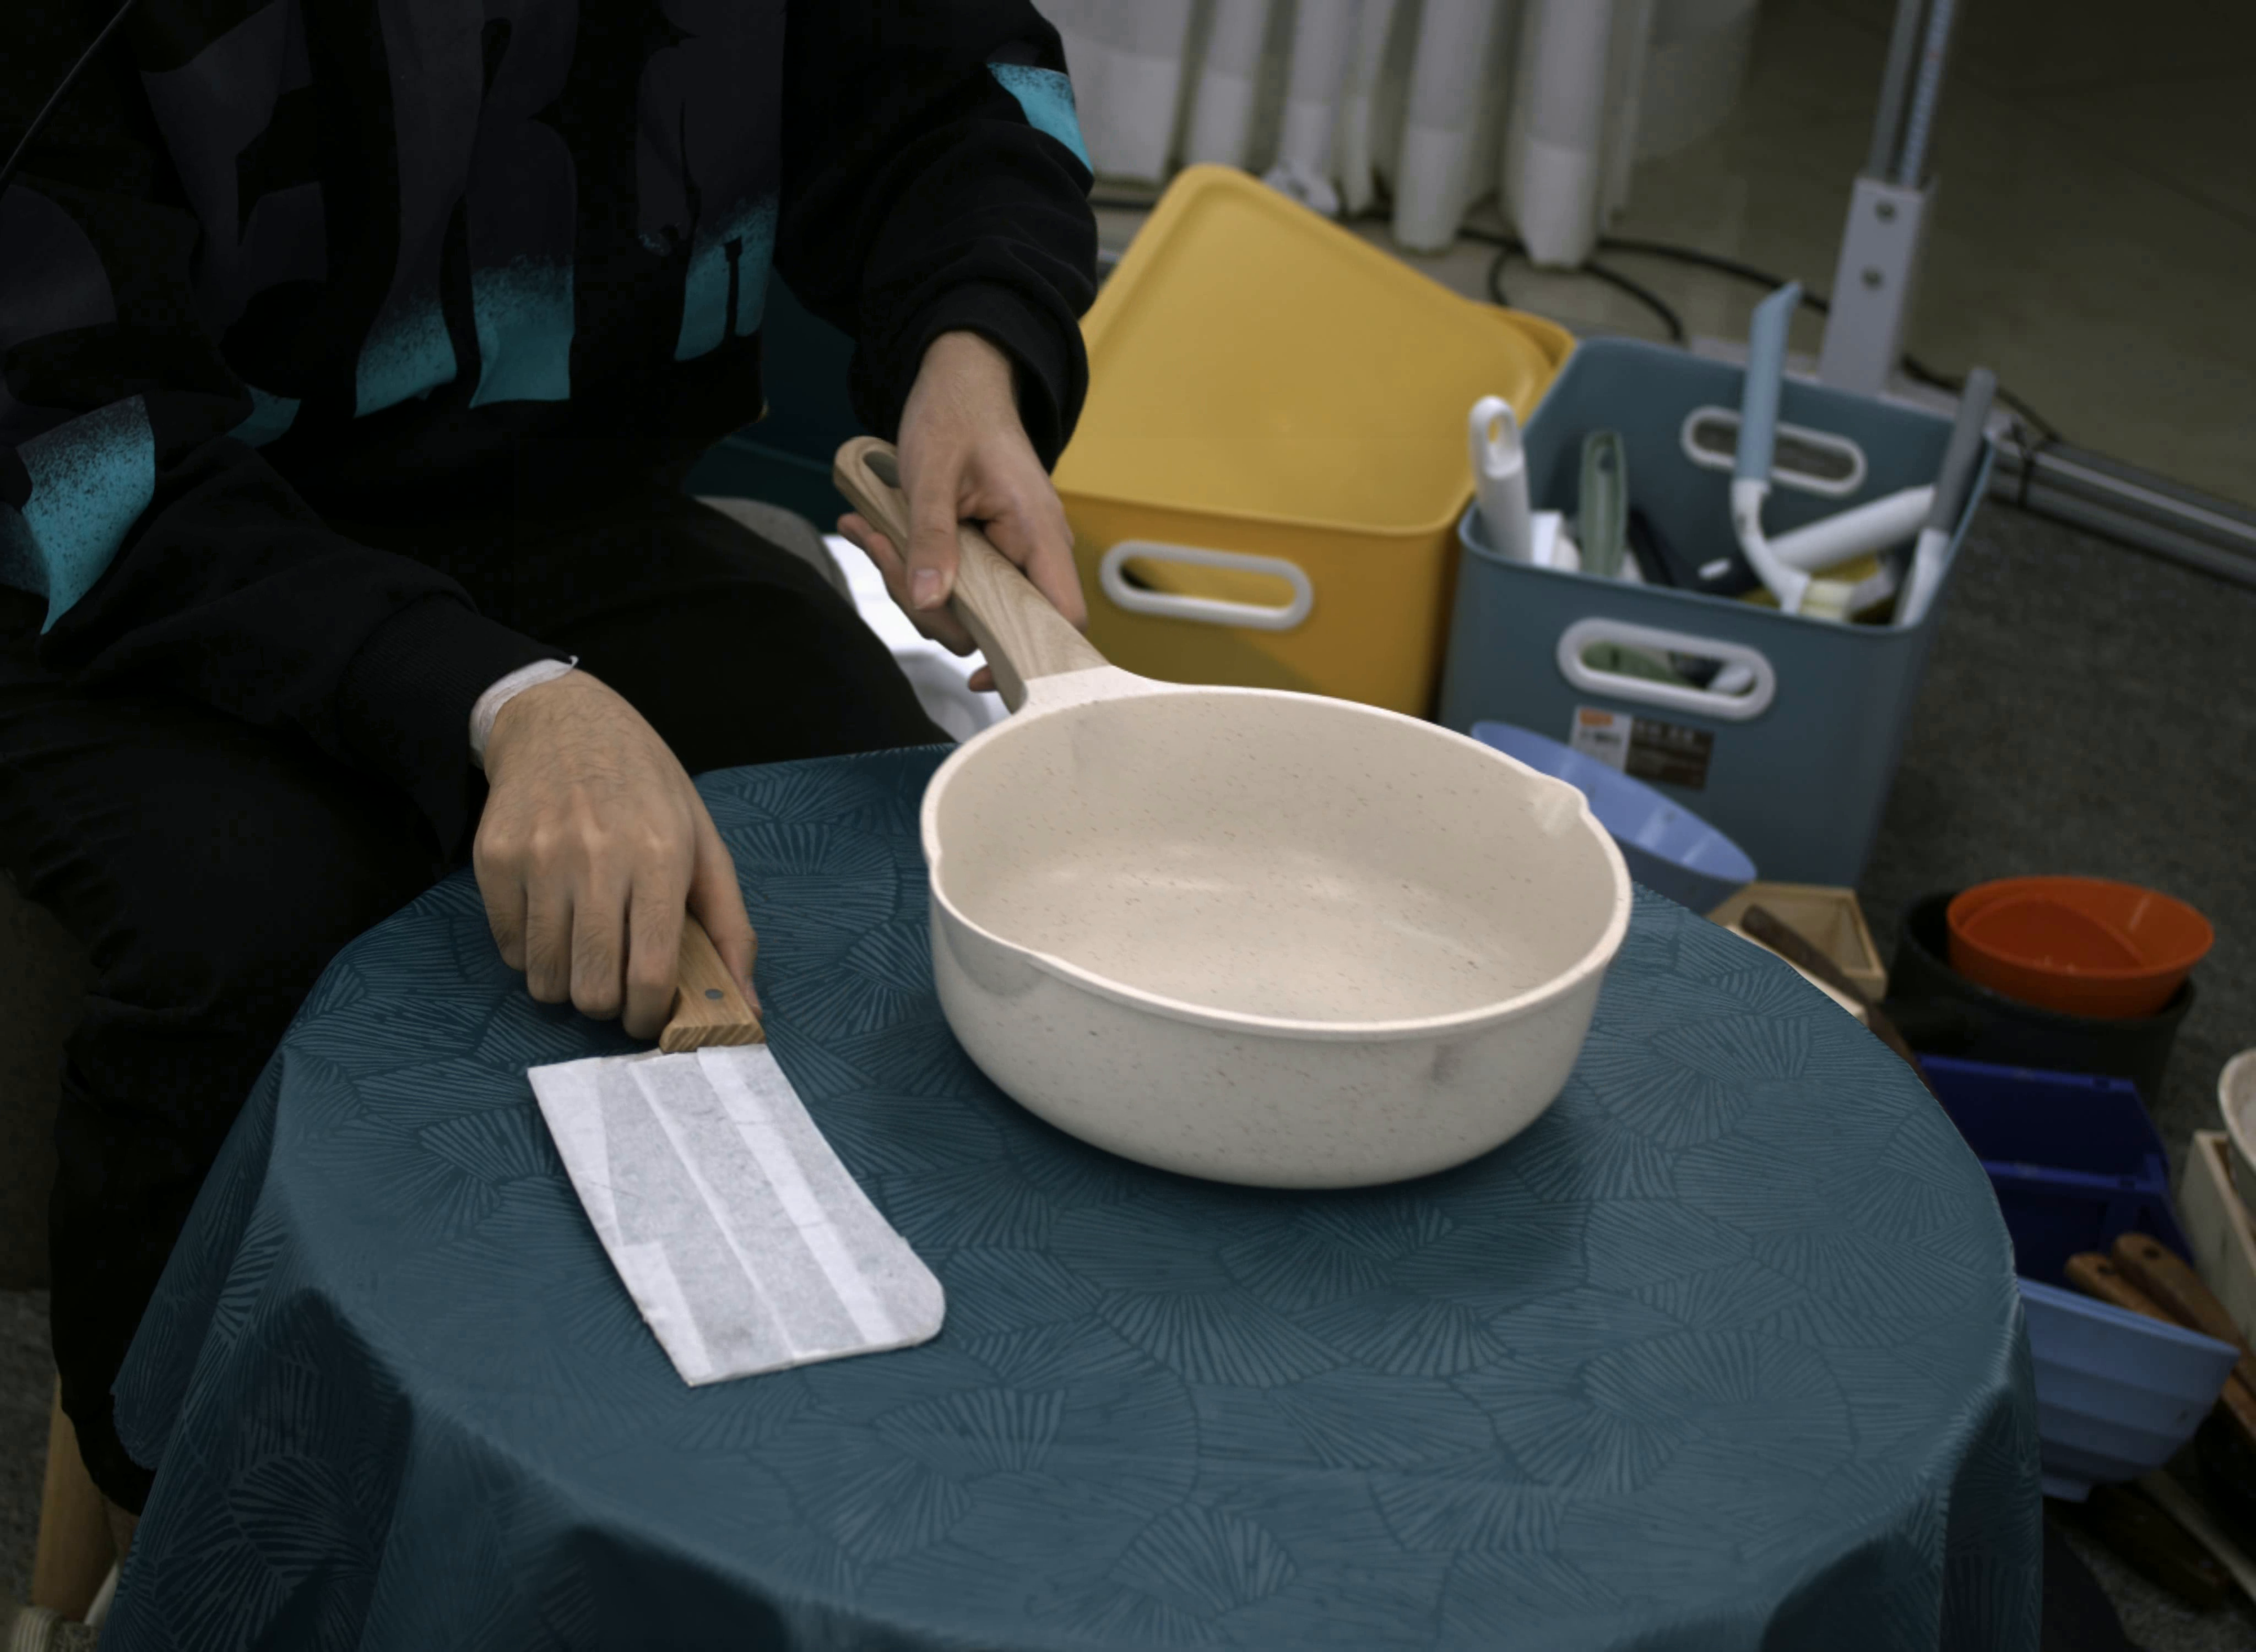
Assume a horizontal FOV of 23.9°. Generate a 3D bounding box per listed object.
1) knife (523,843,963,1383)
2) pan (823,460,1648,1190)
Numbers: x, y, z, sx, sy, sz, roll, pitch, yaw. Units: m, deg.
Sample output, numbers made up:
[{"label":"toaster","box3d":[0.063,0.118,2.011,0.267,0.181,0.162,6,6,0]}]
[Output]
[{"label":"knife","box3d":[-0.145,0.094,1.809,0.113,0.021,0.318,-4,31,-18]},{"label":"pan","box3d":[0.006,-0.004,1.945,0.262,0.101,0.439,-13,33,-30]}]
